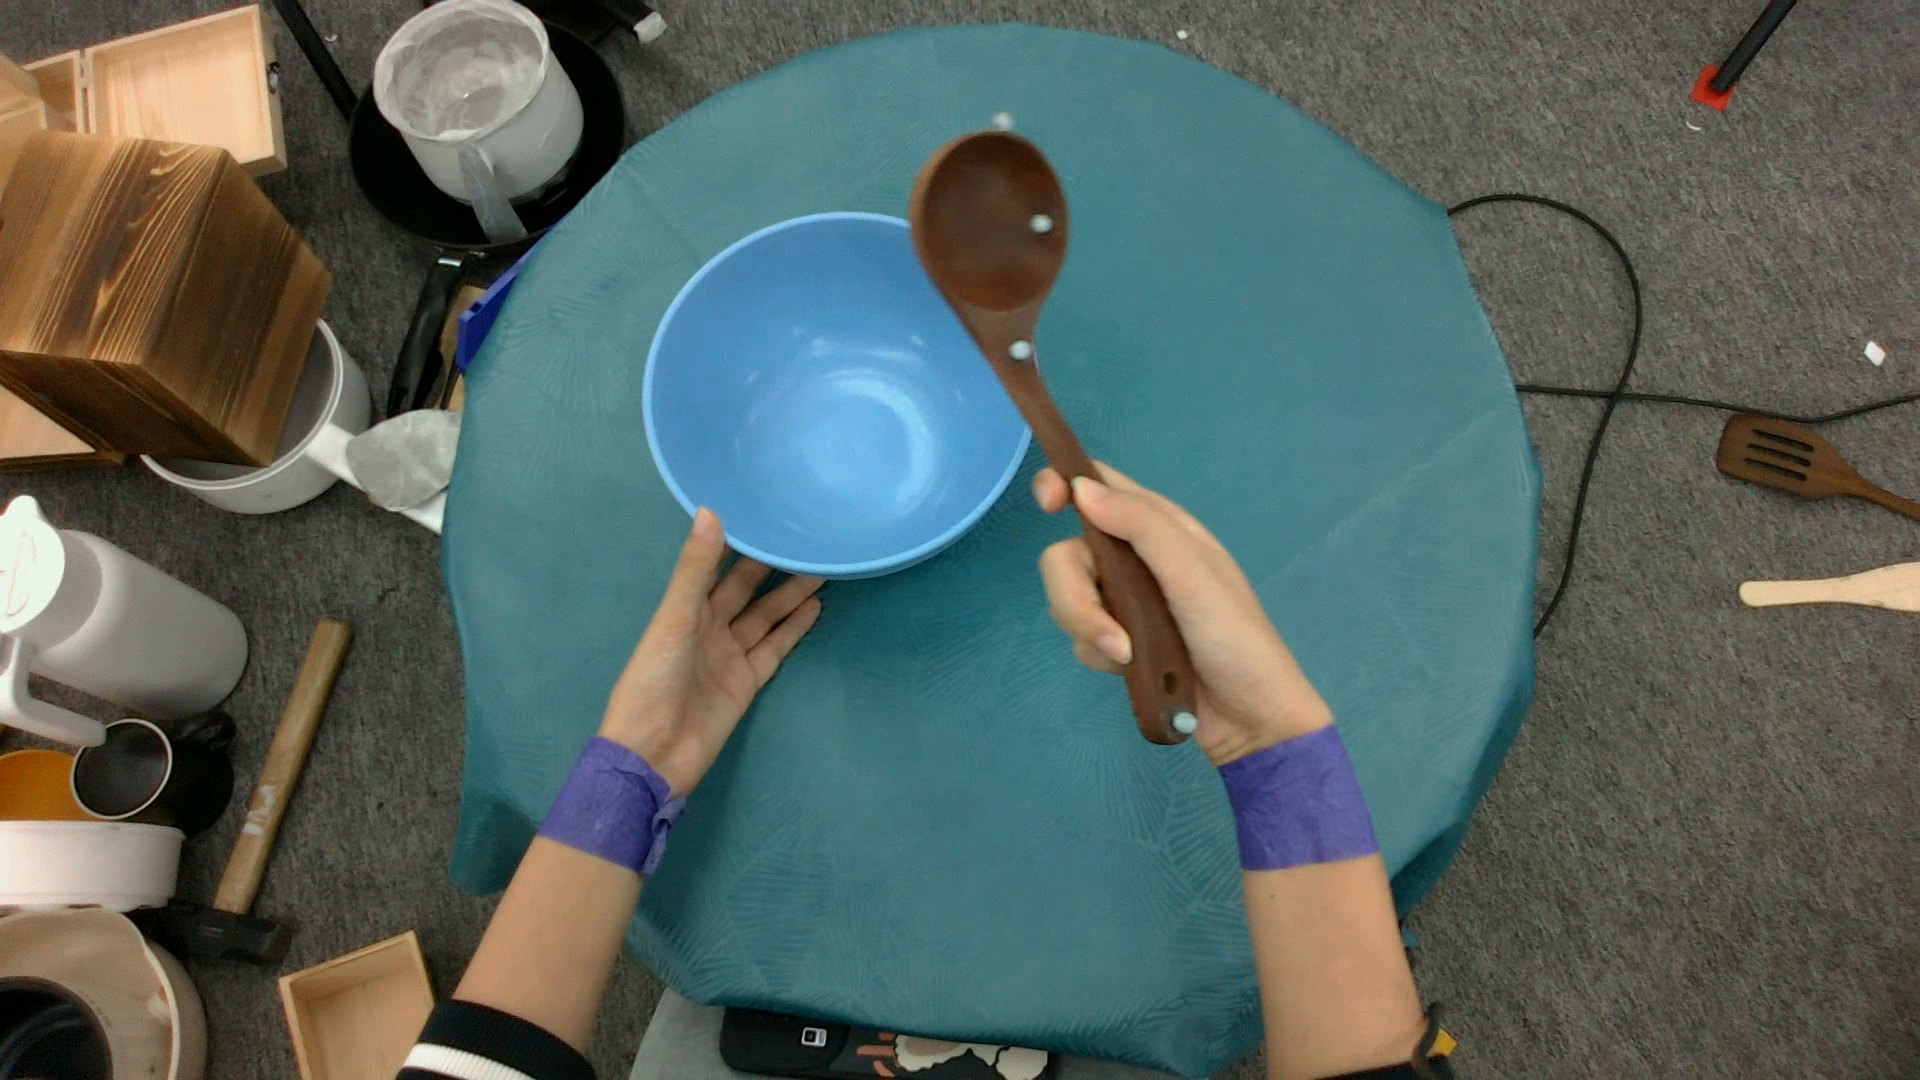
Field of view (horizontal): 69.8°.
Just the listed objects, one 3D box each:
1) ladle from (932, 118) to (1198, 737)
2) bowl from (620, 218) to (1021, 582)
[{"bbox_3d":[0.050,-0.052,0.545,0.077,0.065,0.261,-8,65,-23],"label":"ladle"},{"bbox_3d":[-0.072,-0.060,0.719,0.196,0.095,0.197,2,67,-5],"label":"bowl"}]
